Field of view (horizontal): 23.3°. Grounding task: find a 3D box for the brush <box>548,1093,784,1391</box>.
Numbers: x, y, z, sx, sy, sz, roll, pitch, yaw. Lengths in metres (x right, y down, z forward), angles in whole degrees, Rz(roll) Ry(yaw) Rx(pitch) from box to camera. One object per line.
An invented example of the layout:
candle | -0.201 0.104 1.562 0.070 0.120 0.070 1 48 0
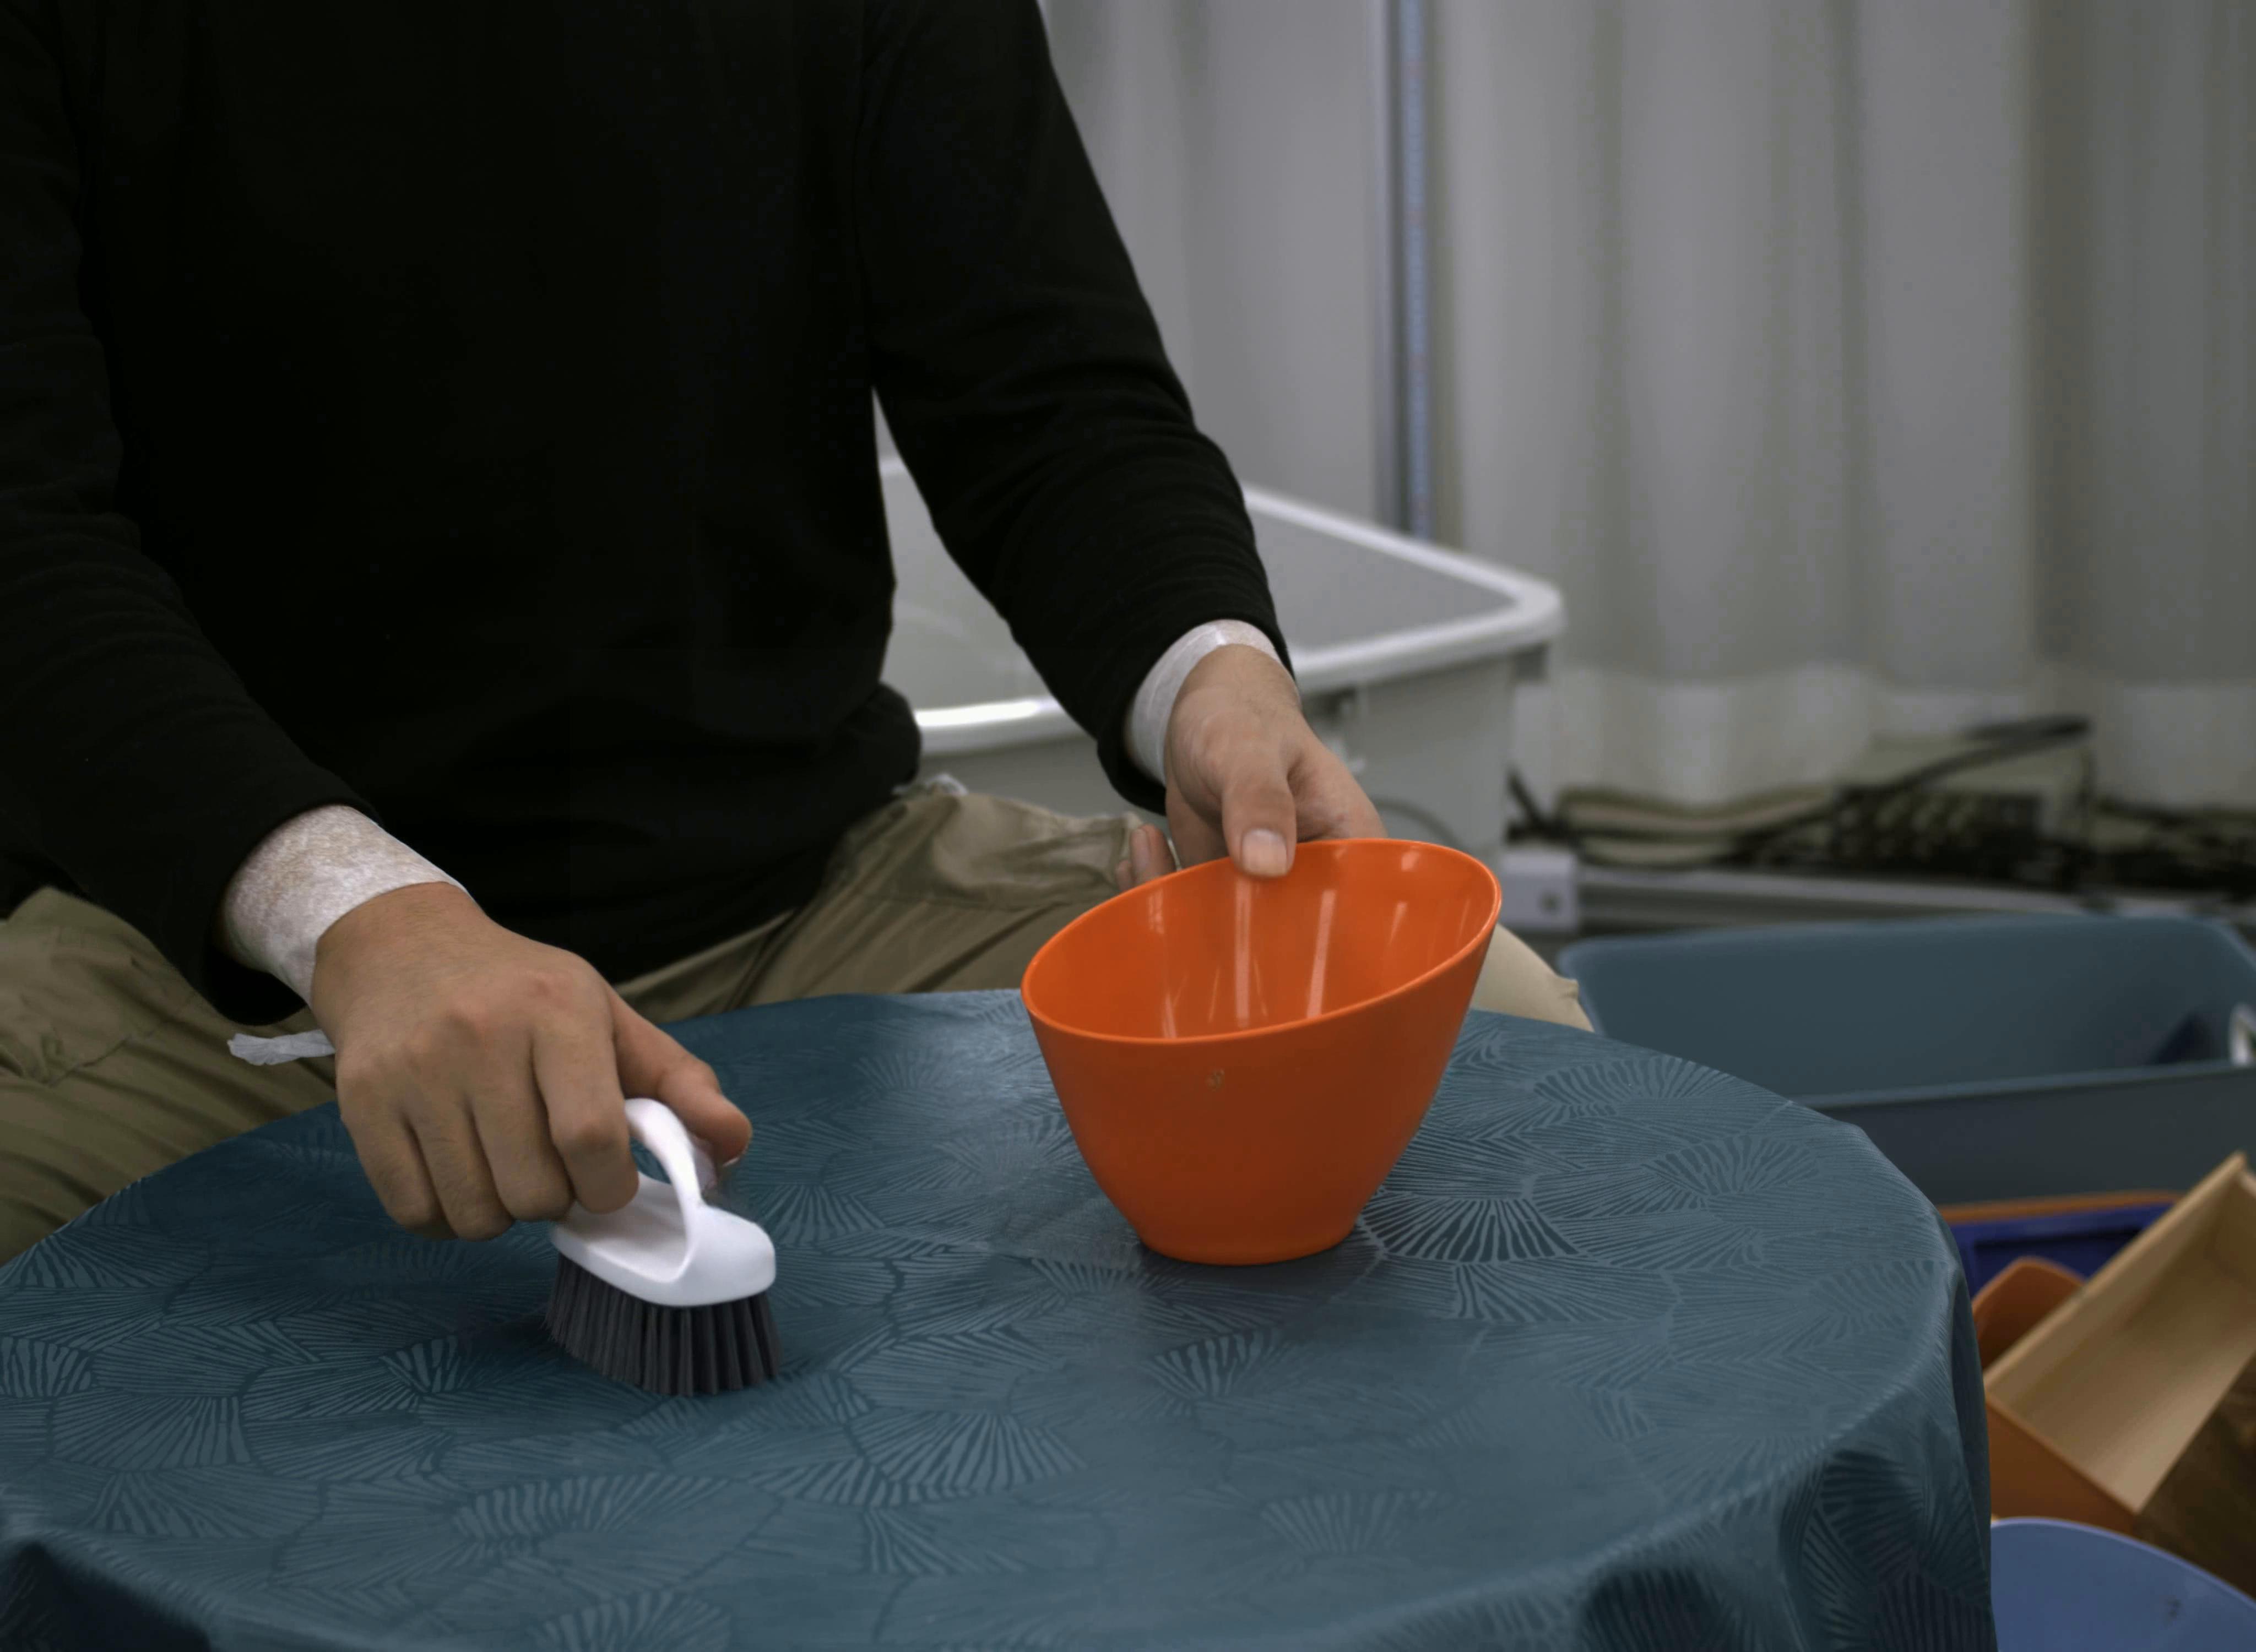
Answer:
brush | -0.137 0.116 1.593 0.050 0.072 0.100 -11 16 -25

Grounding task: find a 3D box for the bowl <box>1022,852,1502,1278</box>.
bowl | 0.044 0.076 1.663 0.147 0.104 0.149 -4 14 1
